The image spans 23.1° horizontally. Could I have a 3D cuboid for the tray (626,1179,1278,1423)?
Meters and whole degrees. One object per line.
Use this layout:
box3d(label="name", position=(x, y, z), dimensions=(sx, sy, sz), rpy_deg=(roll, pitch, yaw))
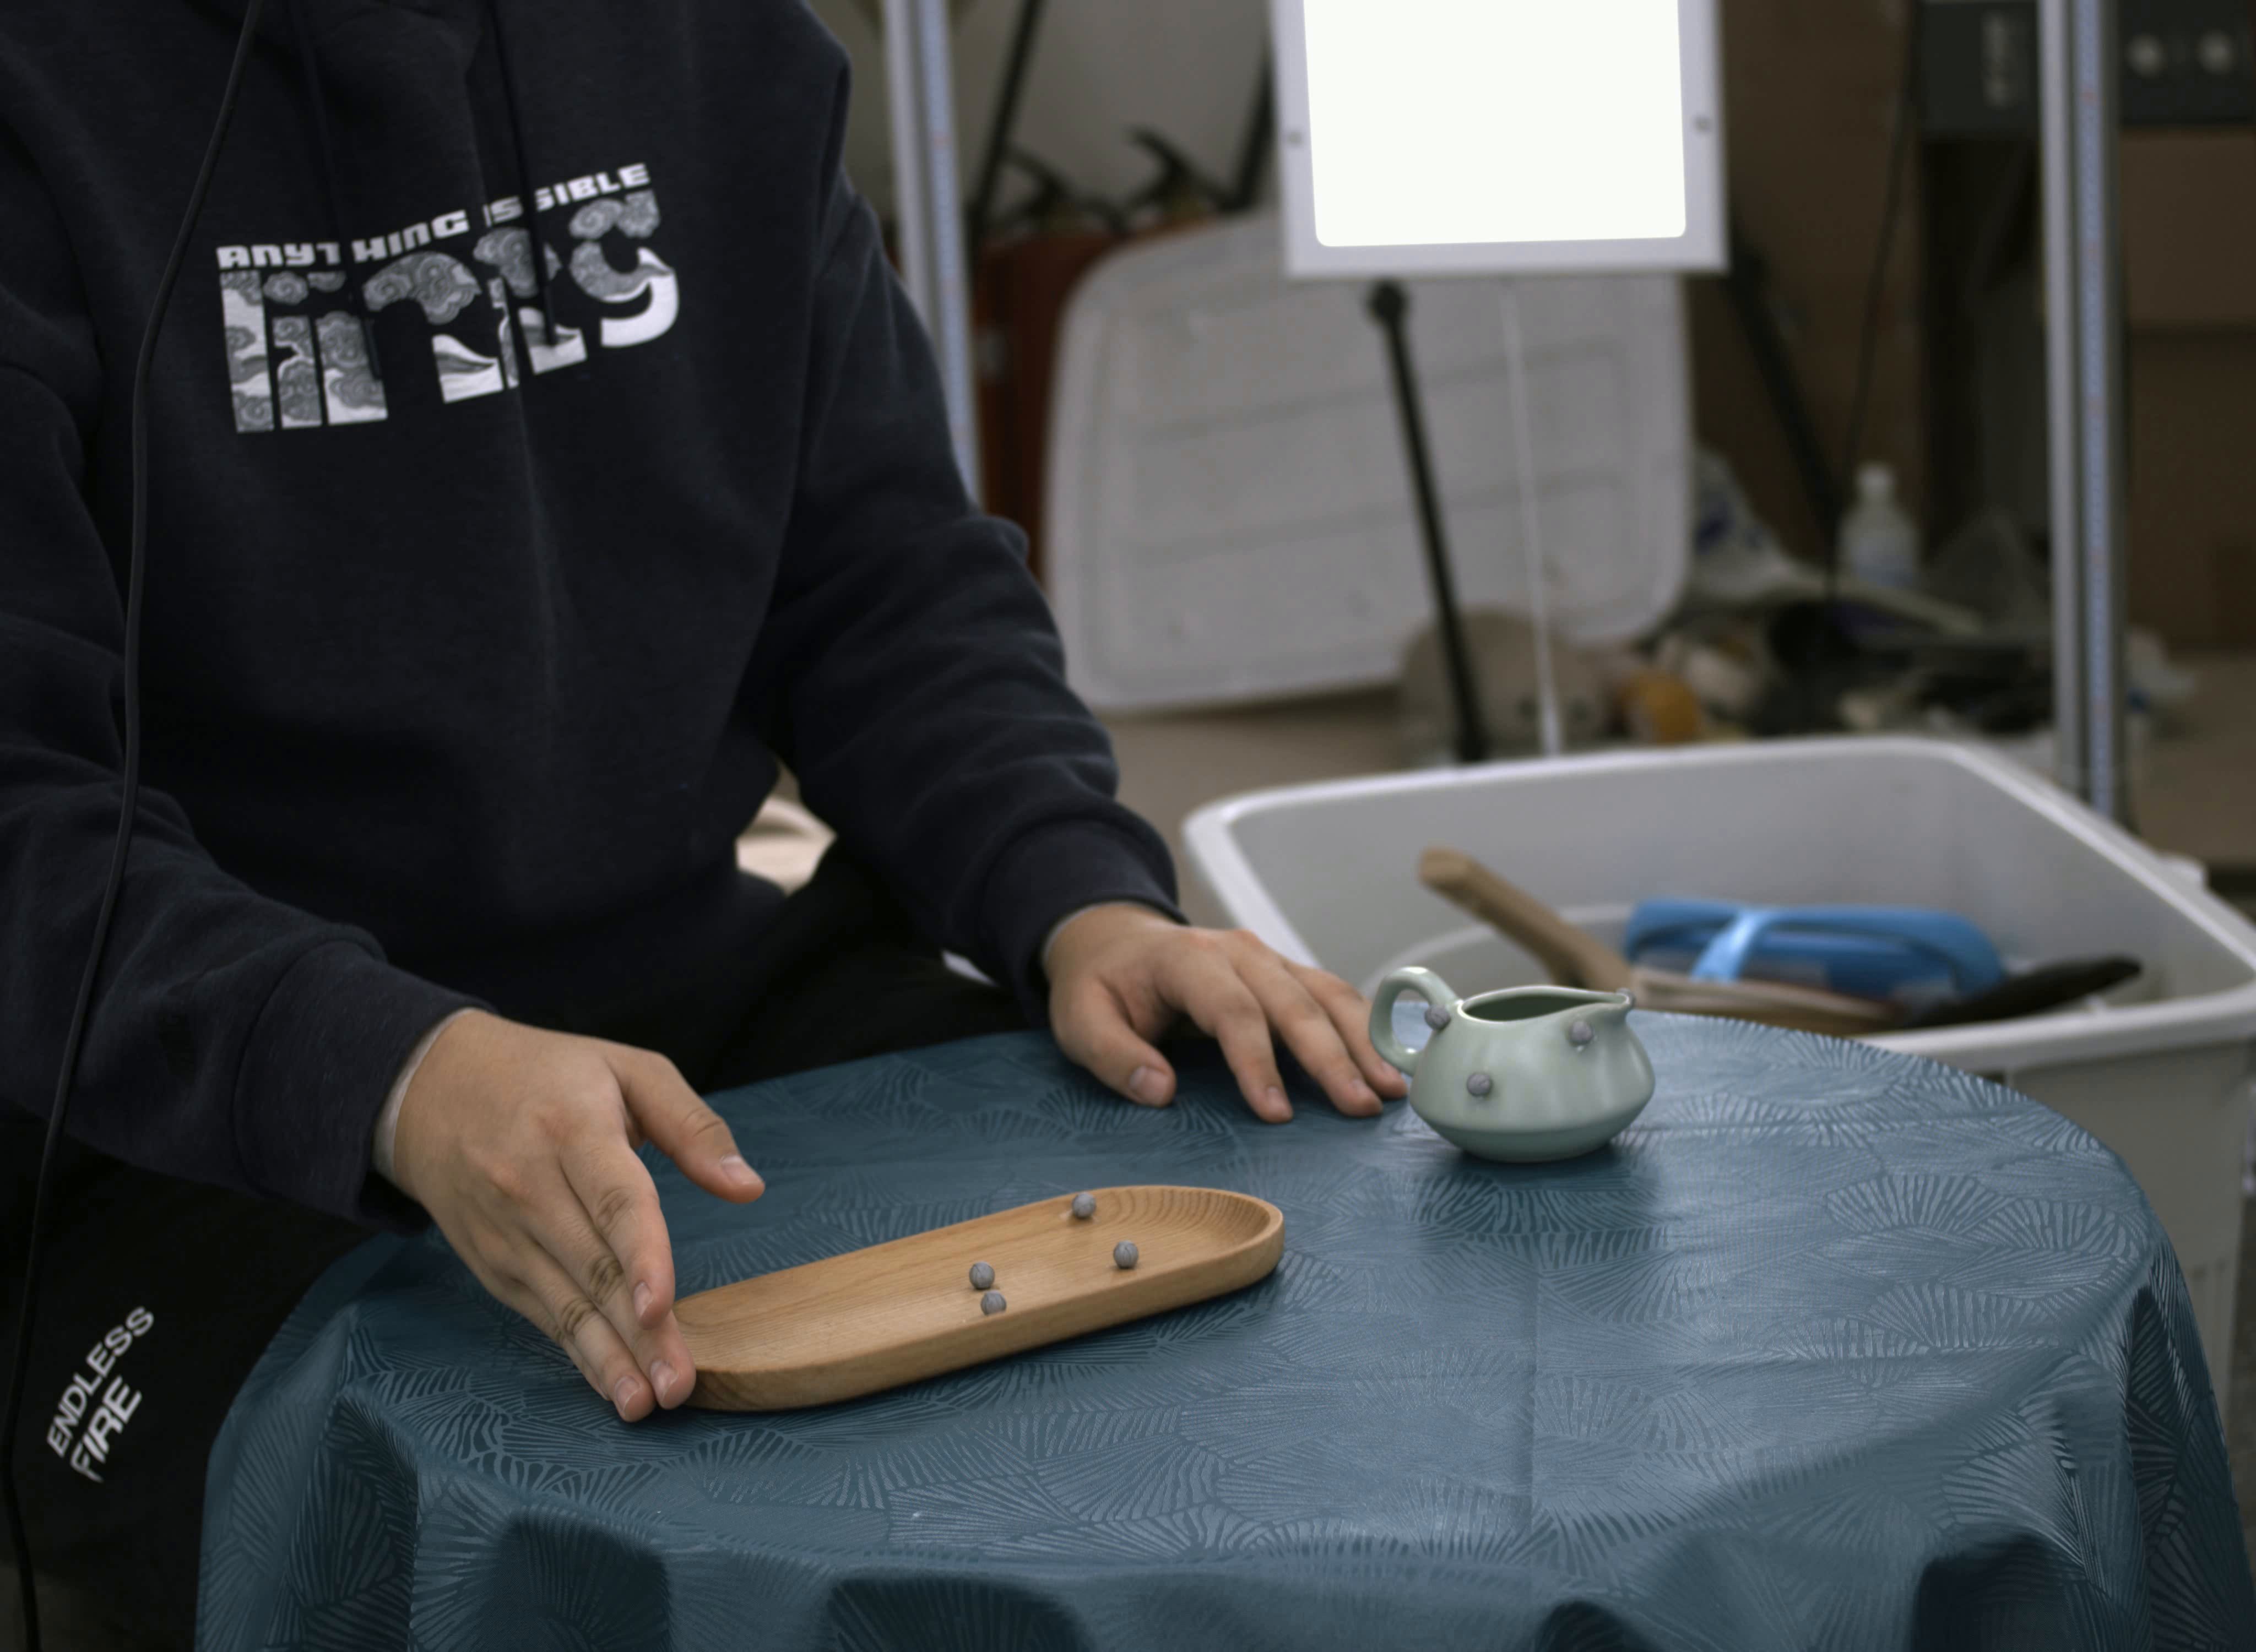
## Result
box3d(label="tray", position=(-0.054, 0.152, 1.777), dimensions=(0.226, 0.020, 0.103), rpy_deg=(-15, 17, -30))

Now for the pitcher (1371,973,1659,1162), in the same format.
box3d(label="pitcher", position=(0.132, 0.083, 1.915), dimensions=(0.110, 0.060, 0.084), rpy_deg=(2, 14, 36))
